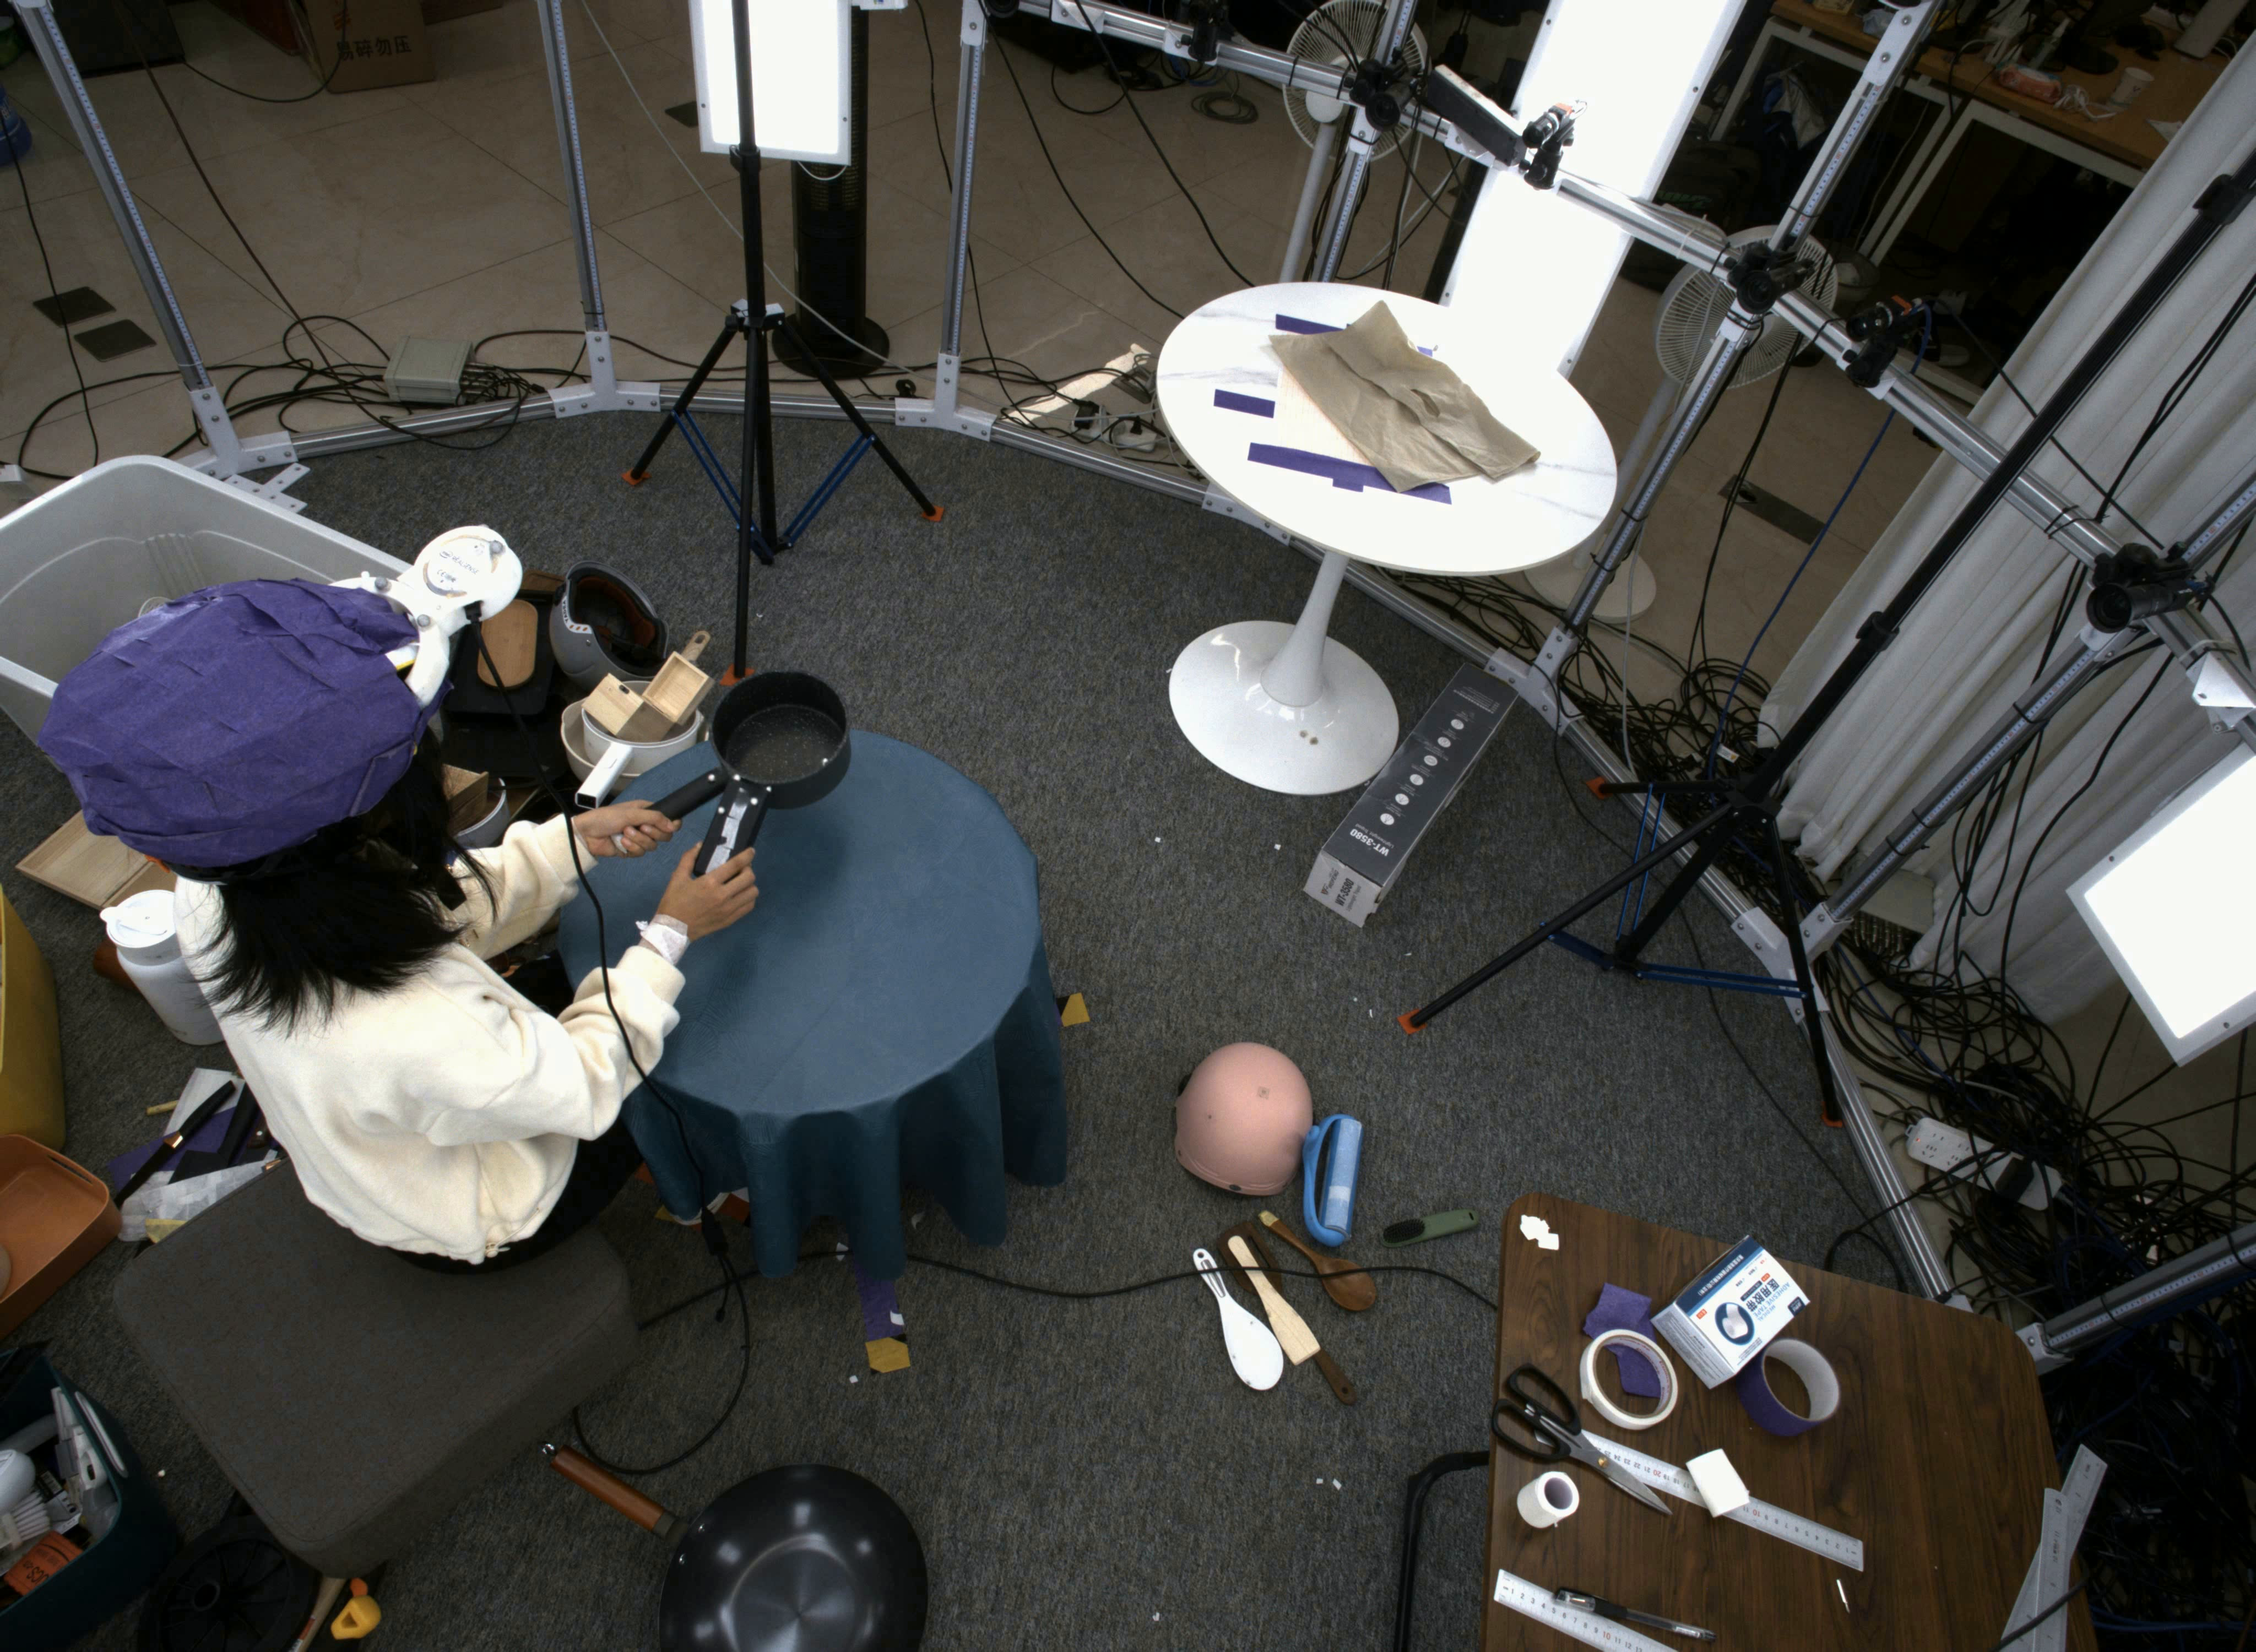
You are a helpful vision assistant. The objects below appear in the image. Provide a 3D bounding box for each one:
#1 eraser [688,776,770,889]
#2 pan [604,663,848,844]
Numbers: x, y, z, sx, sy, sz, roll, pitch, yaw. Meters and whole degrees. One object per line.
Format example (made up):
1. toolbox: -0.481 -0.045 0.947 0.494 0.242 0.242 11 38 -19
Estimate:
1. eraser: -0.471 0.006 1.527 0.053 0.030 0.125 19 77 -2
2. pan: -0.489 -0.066 1.575 0.329 0.088 0.169 -38 73 -26
